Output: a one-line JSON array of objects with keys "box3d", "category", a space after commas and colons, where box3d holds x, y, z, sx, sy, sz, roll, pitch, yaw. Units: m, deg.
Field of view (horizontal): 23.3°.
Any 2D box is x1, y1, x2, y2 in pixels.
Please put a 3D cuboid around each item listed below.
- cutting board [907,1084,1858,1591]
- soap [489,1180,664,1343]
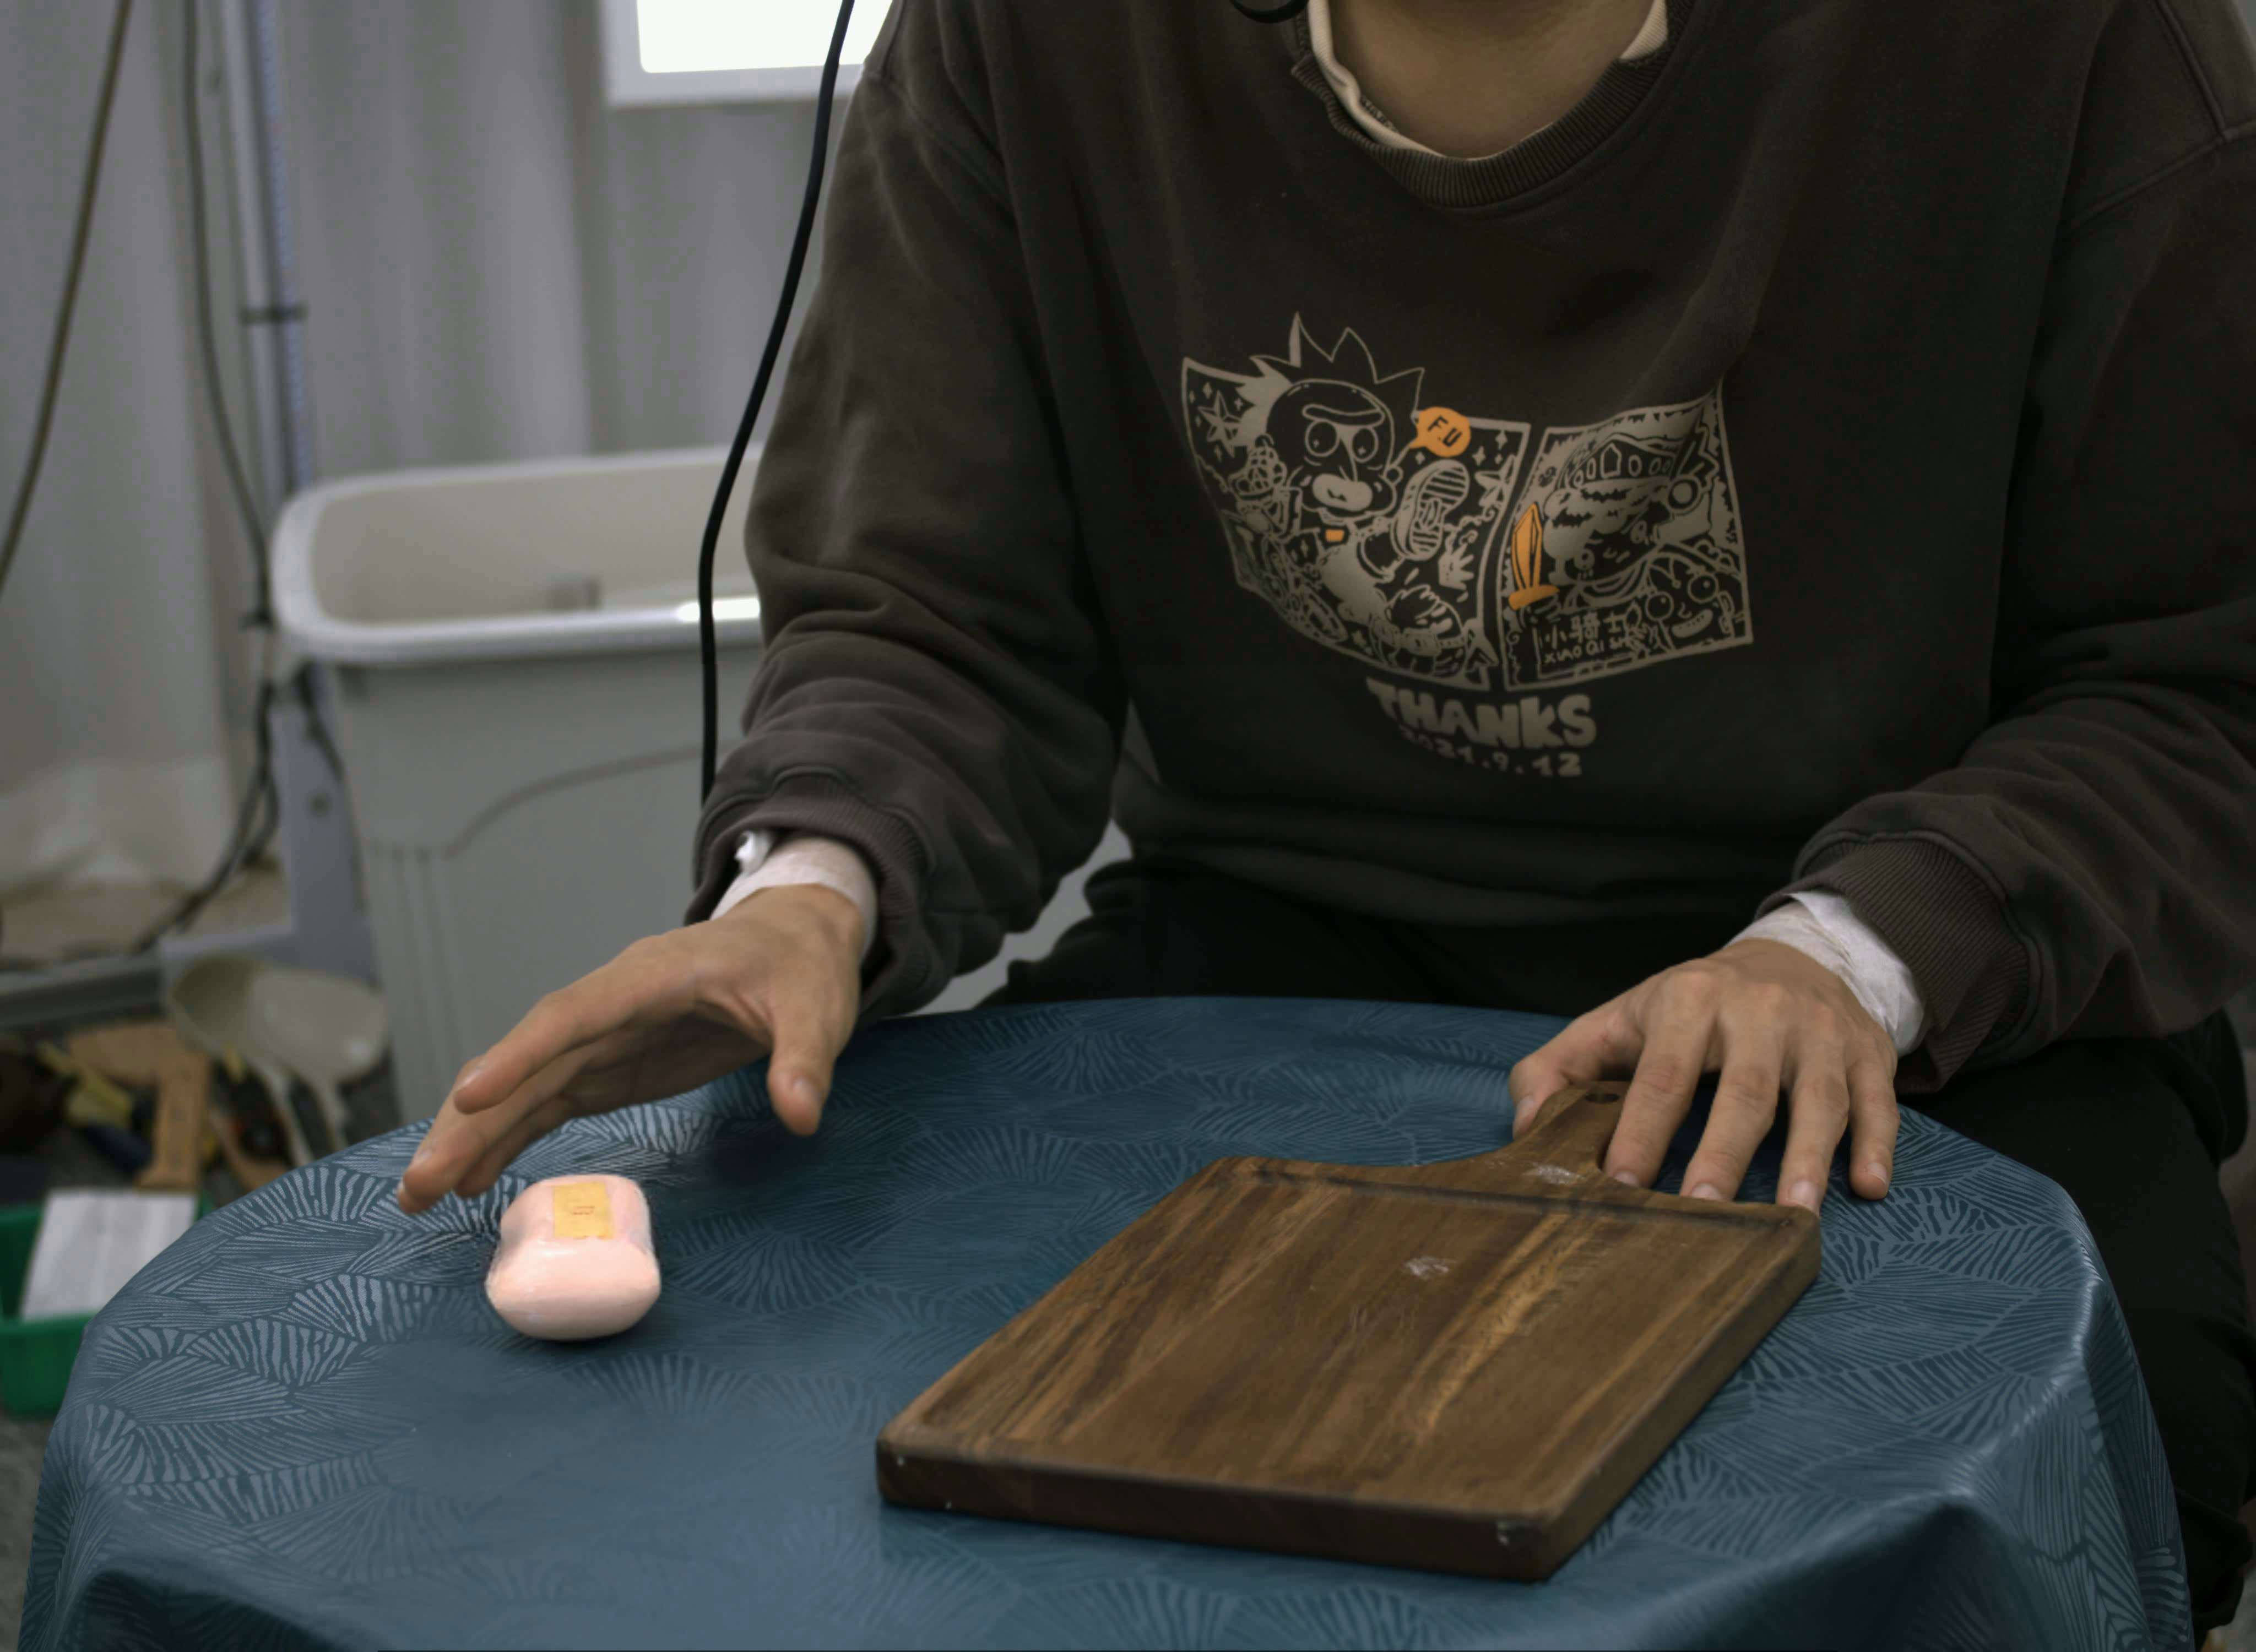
[{"box3d": [0.097, 0.137, 1.581, 0.201, 0.023, 0.353, 4, 16, 24], "category": "cutting board"}, {"box3d": [-0.165, 0.131, 1.643, 0.050, 0.030, 0.095, -3, 13, -2], "category": "soap"}]
